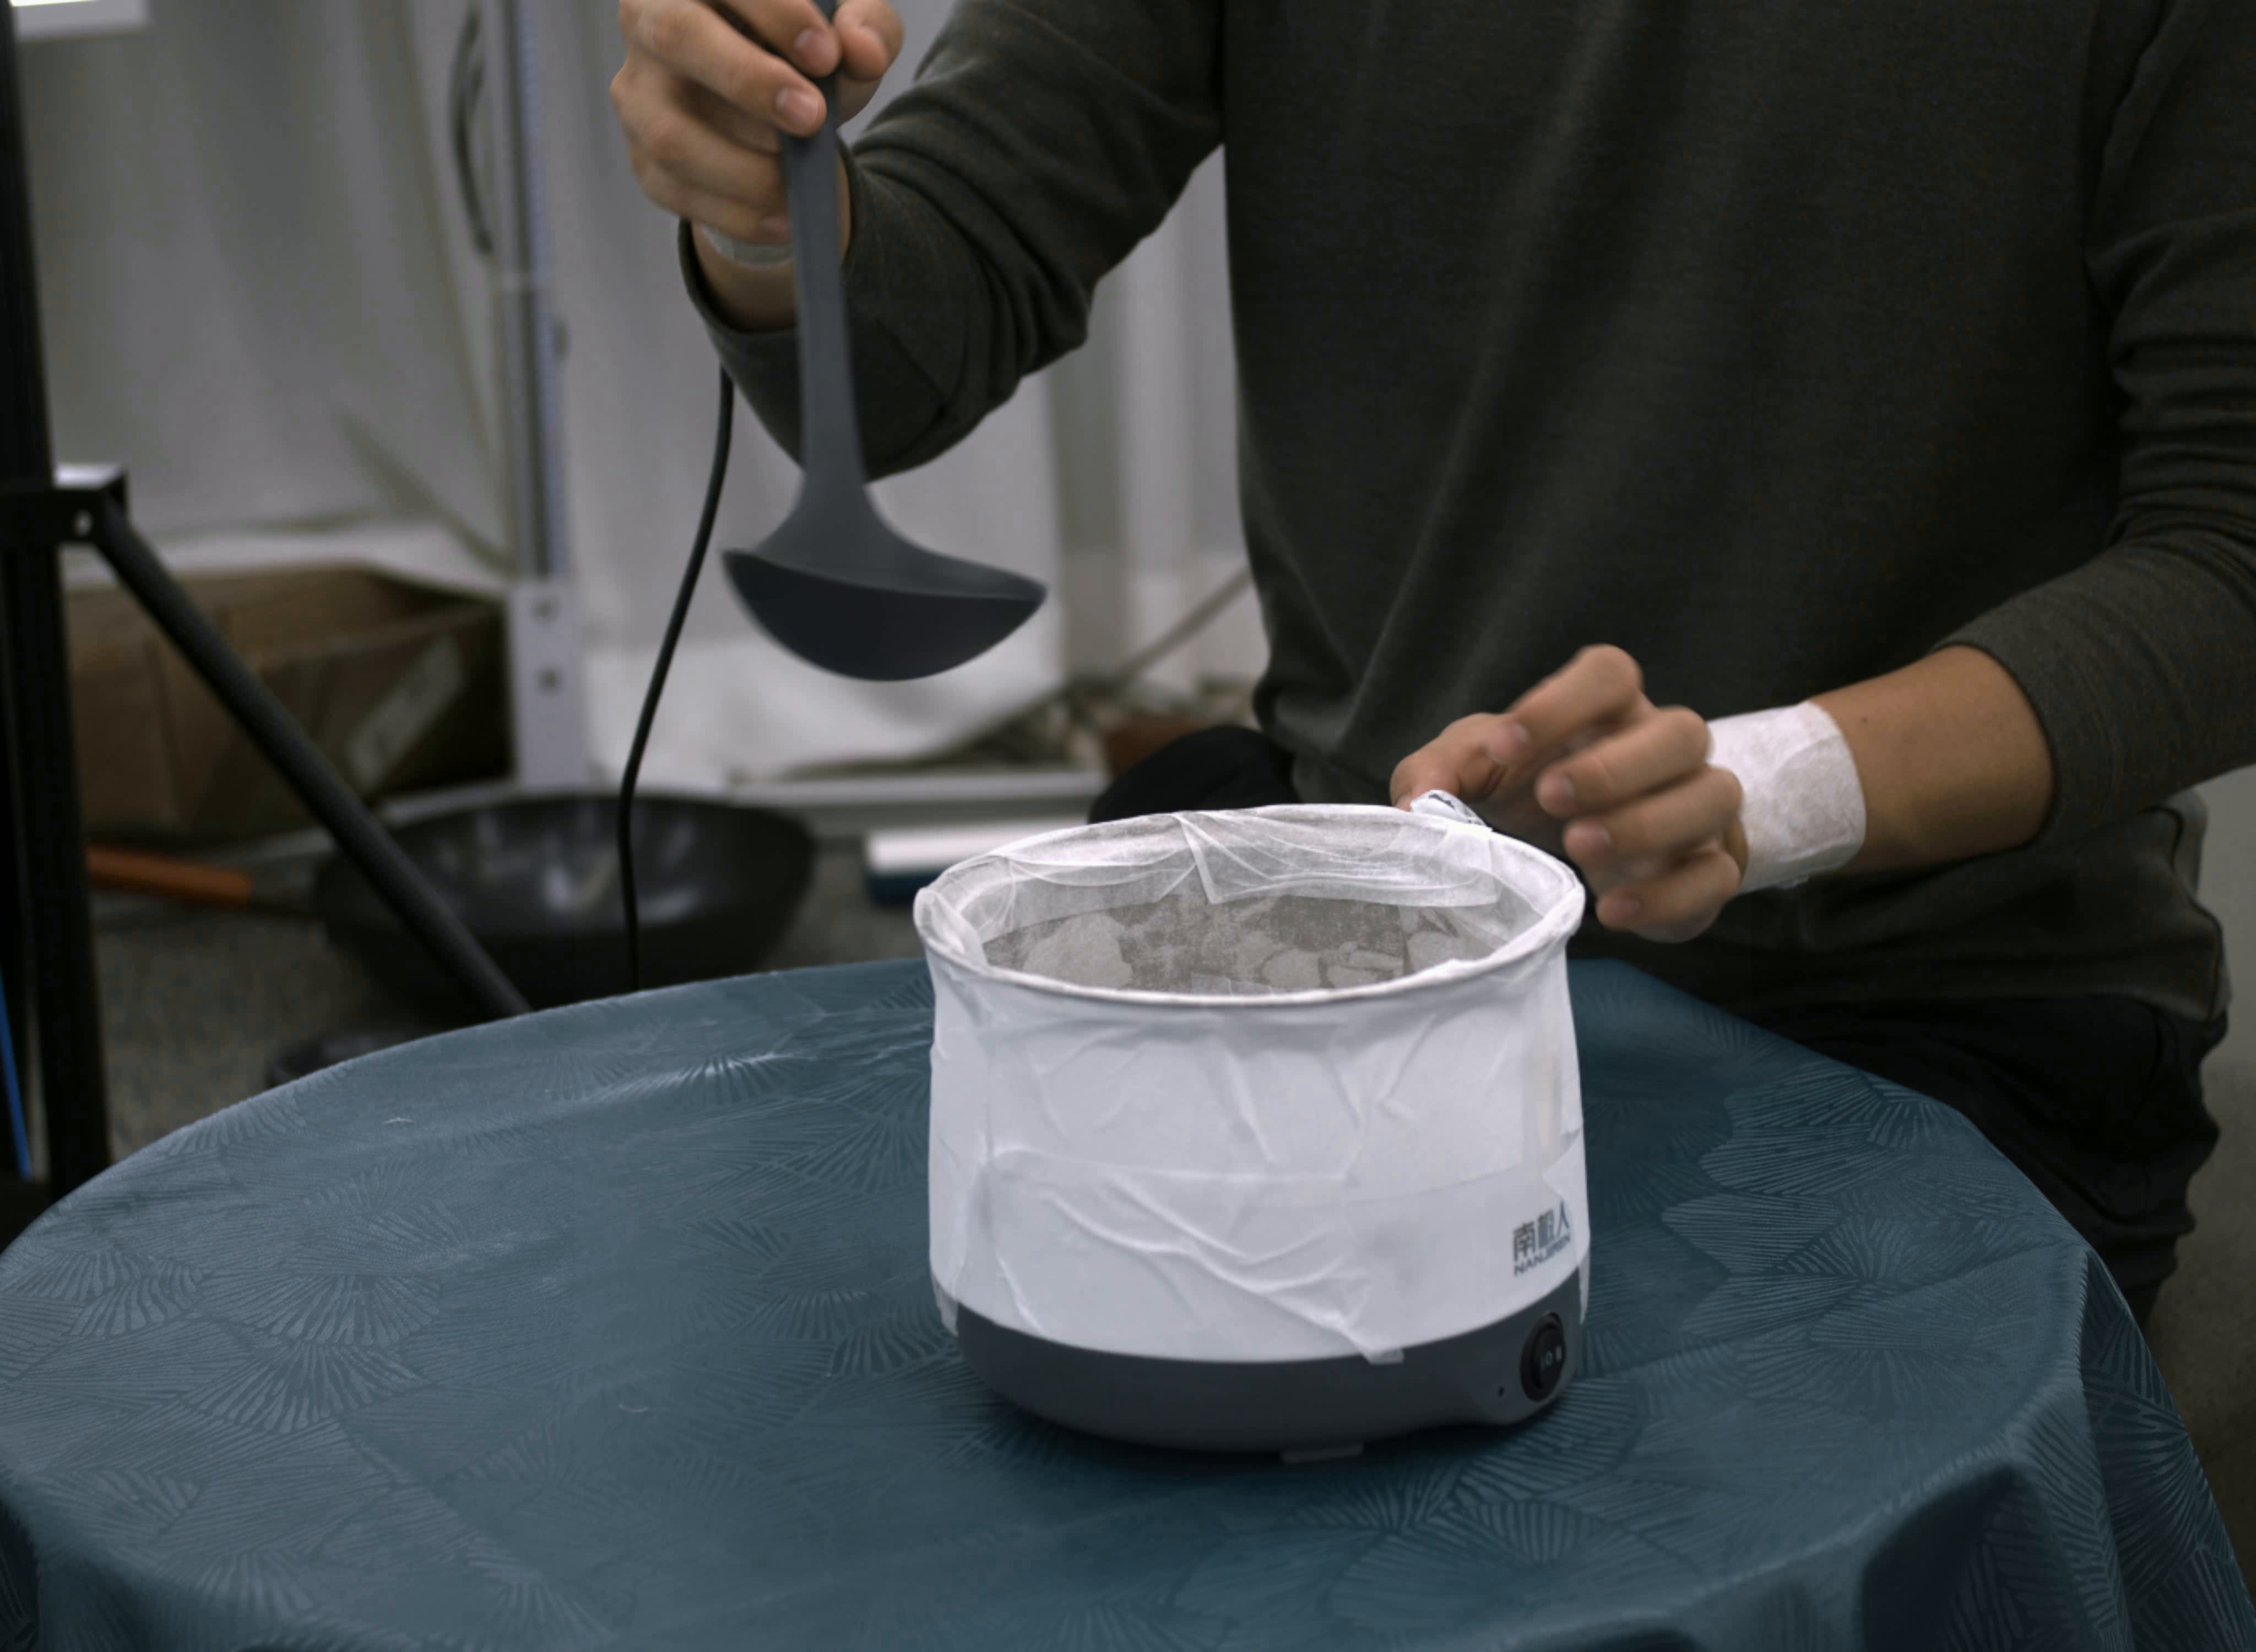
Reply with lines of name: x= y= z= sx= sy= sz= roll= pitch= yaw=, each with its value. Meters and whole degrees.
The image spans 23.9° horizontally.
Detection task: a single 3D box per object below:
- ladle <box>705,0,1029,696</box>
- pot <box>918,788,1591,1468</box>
ladle: x=-0.081 y=-0.173 z=1.455 sx=0.084 sy=0.318 sz=0.064 roll=8 pitch=-32 yaw=-21
pot: x=0.049 y=0.073 z=1.427 sx=0.182 sy=0.136 sz=0.229 roll=8 pitch=19 yaw=32
